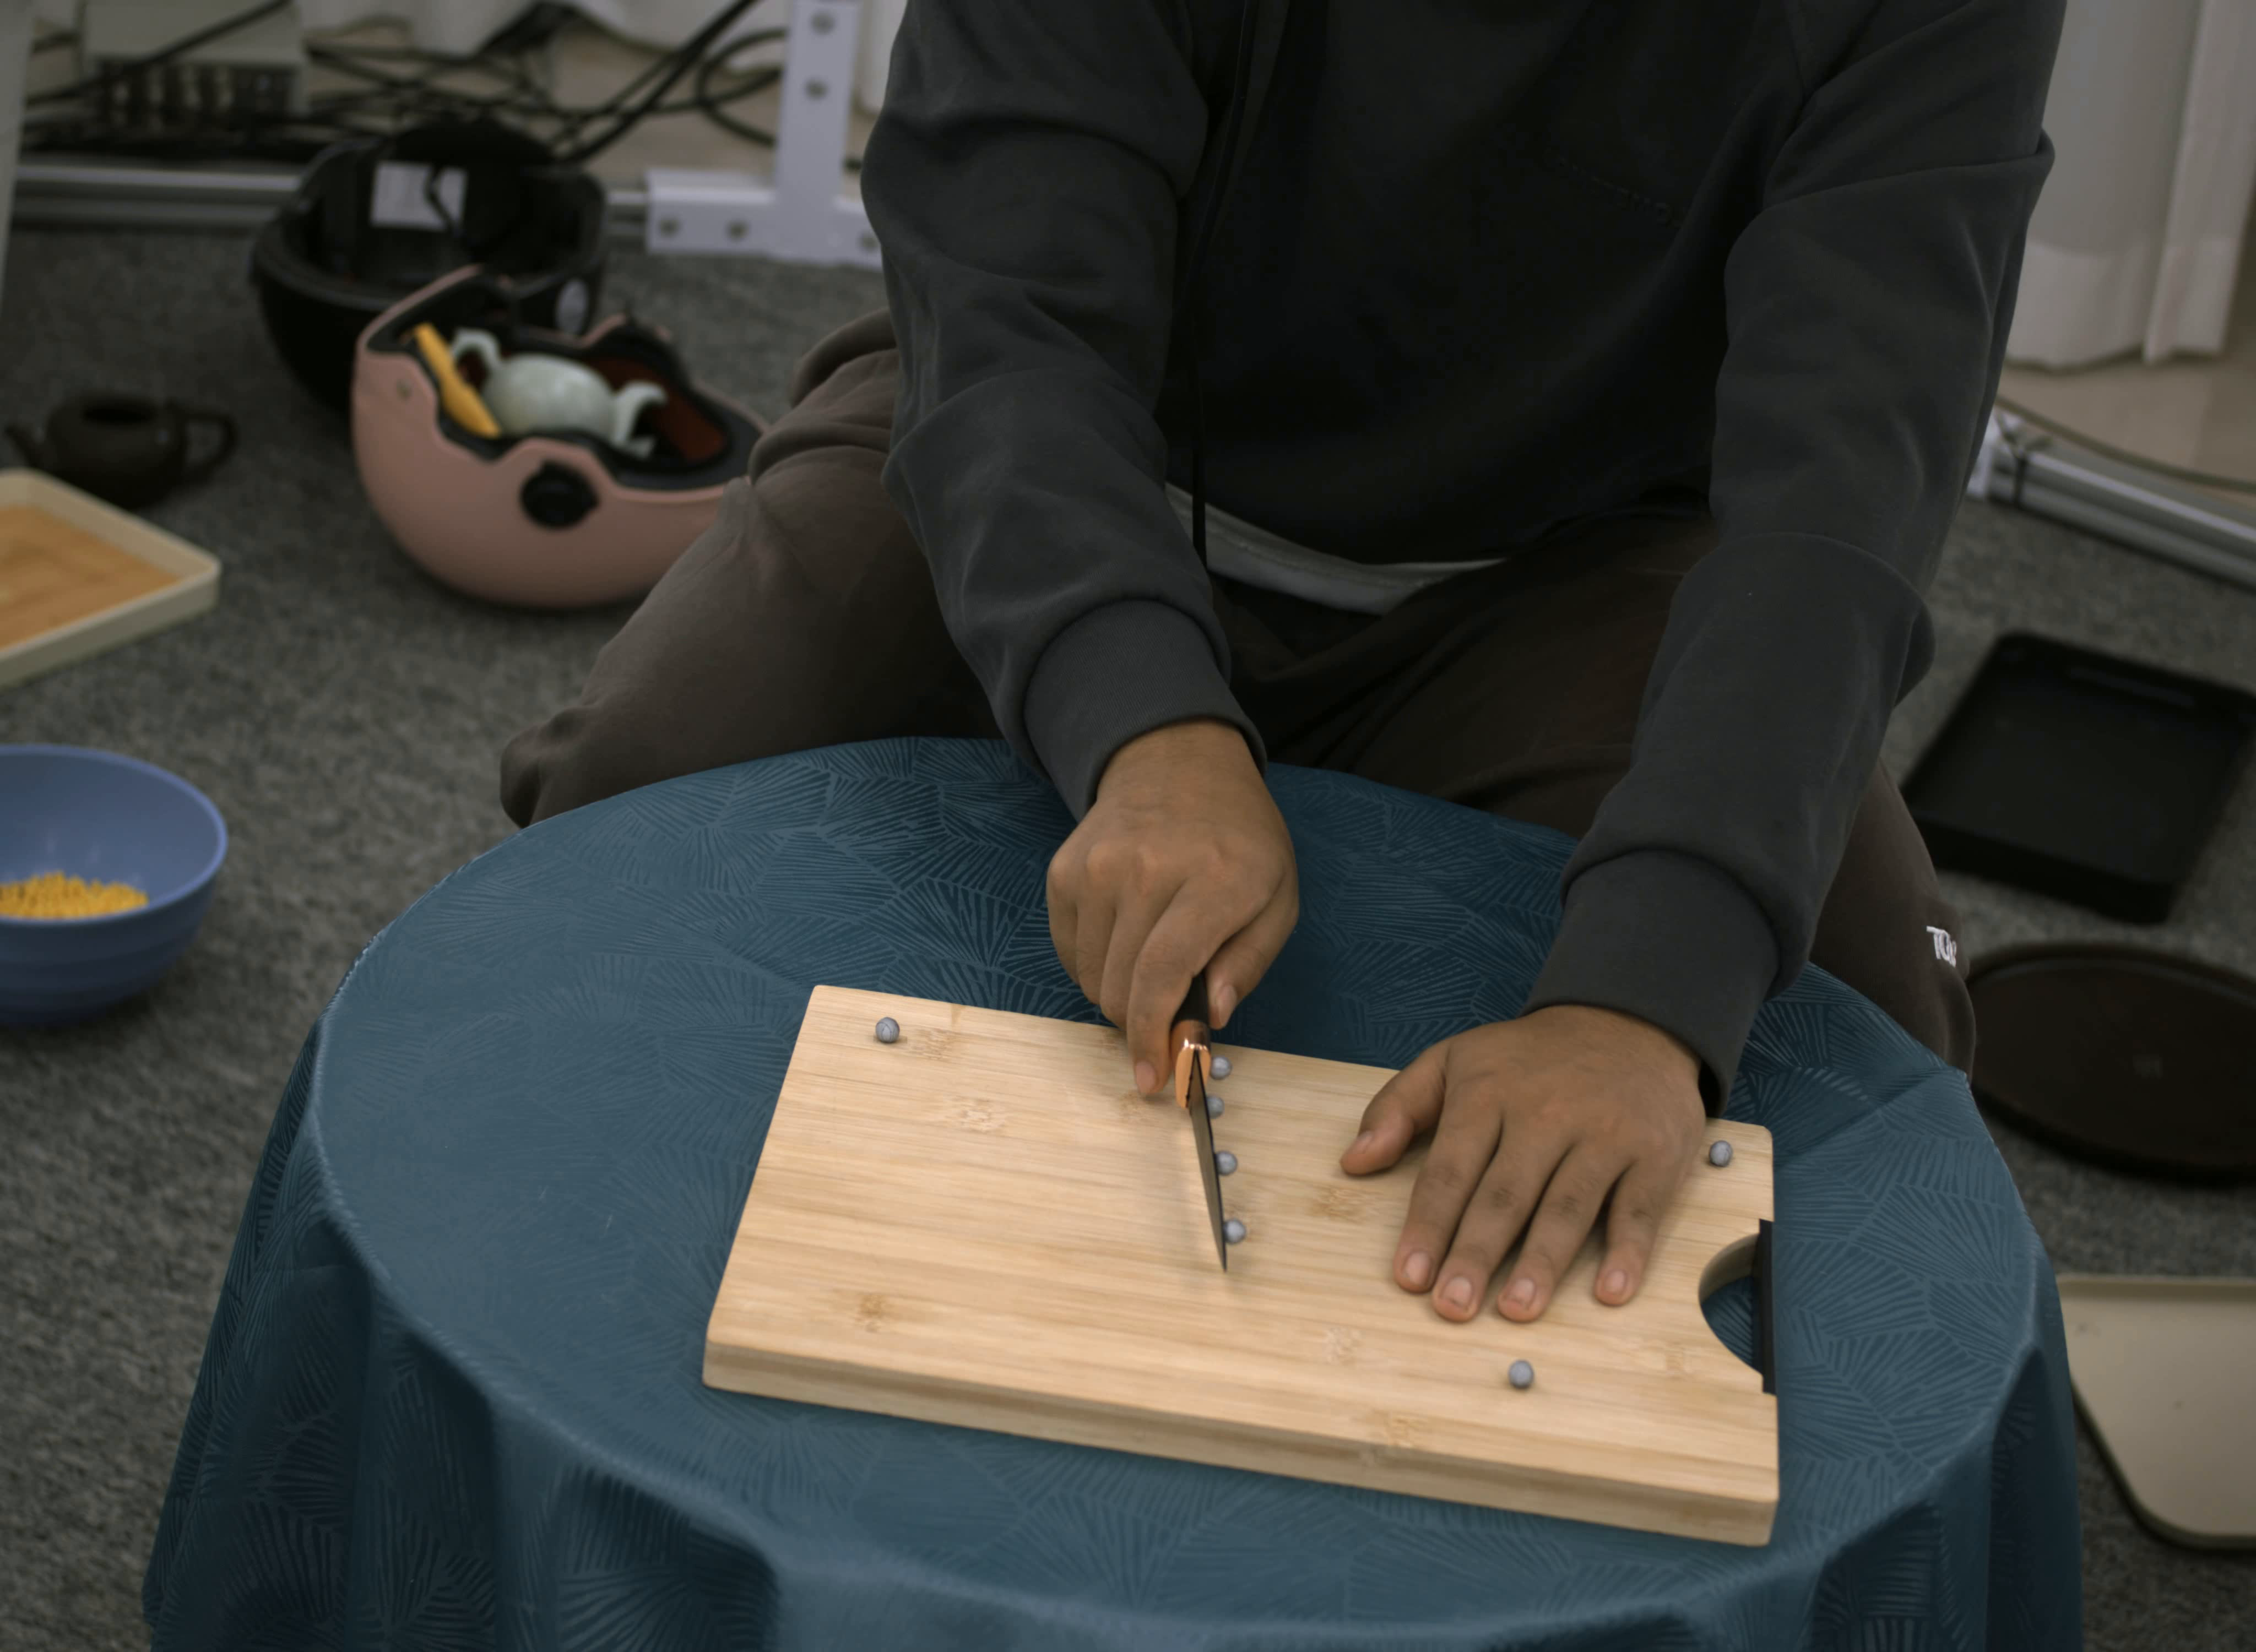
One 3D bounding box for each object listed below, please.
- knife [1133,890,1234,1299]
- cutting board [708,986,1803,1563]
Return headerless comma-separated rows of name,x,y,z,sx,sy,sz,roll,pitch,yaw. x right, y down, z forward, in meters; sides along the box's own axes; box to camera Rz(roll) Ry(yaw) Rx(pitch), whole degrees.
knife,0.021,0.087,1.804,0.017,0.026,0.227,4,30,-10
cutting board,0.050,0.142,1.763,0.348,0.023,0.252,8,27,2
